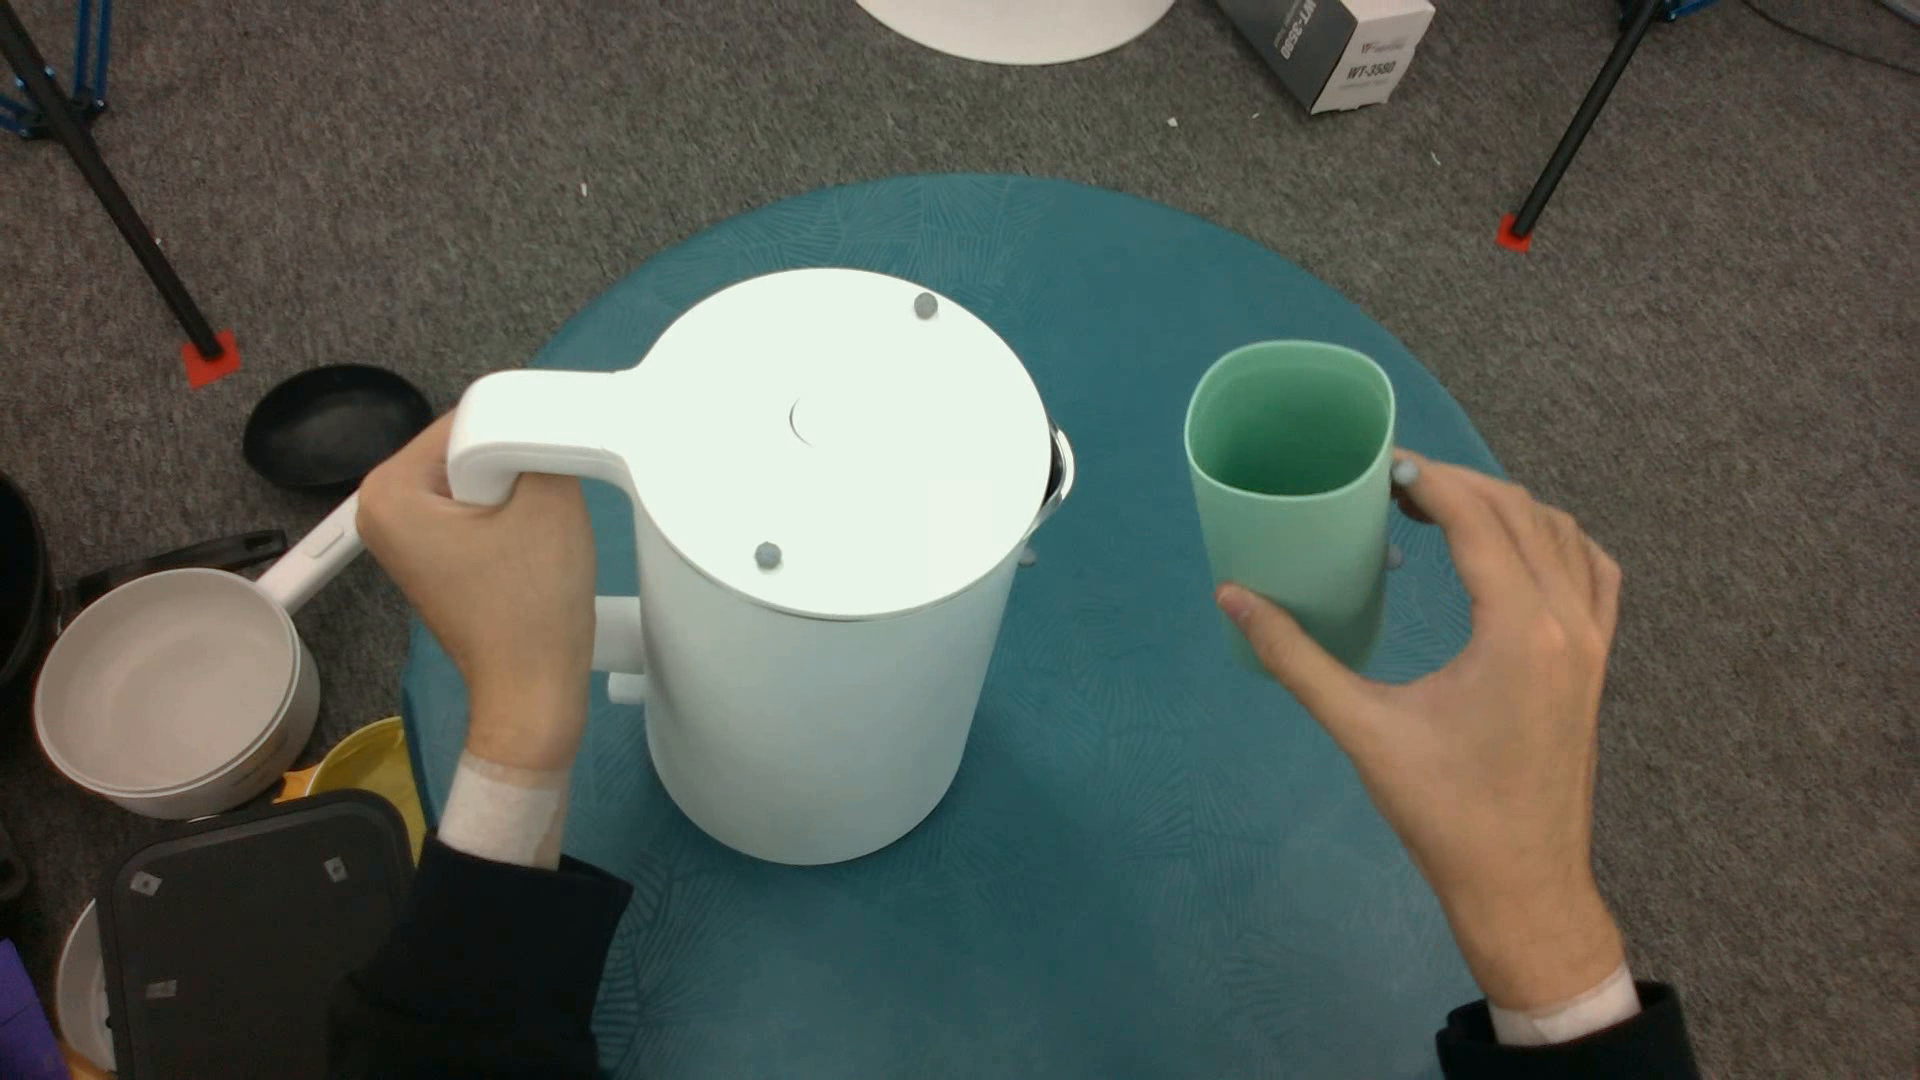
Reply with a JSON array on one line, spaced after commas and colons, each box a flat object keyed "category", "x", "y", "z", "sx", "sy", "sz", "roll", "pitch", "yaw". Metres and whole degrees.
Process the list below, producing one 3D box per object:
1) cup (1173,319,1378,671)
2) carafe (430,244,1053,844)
[{"category": "cup", "x": 0.112, "y": -0.010, "z": 0.486, "sx": 0.066, "sy": 0.132, "sz": 0.067, "roll": -6, "pitch": 56, "yaw": 10}, {"category": "carafe", "x": -0.089, "y": 0.009, "z": 0.555, "sx": 0.213, "sy": 0.239, "sz": 0.153, "roll": 5, "pitch": 57, "yaw": -8}]
